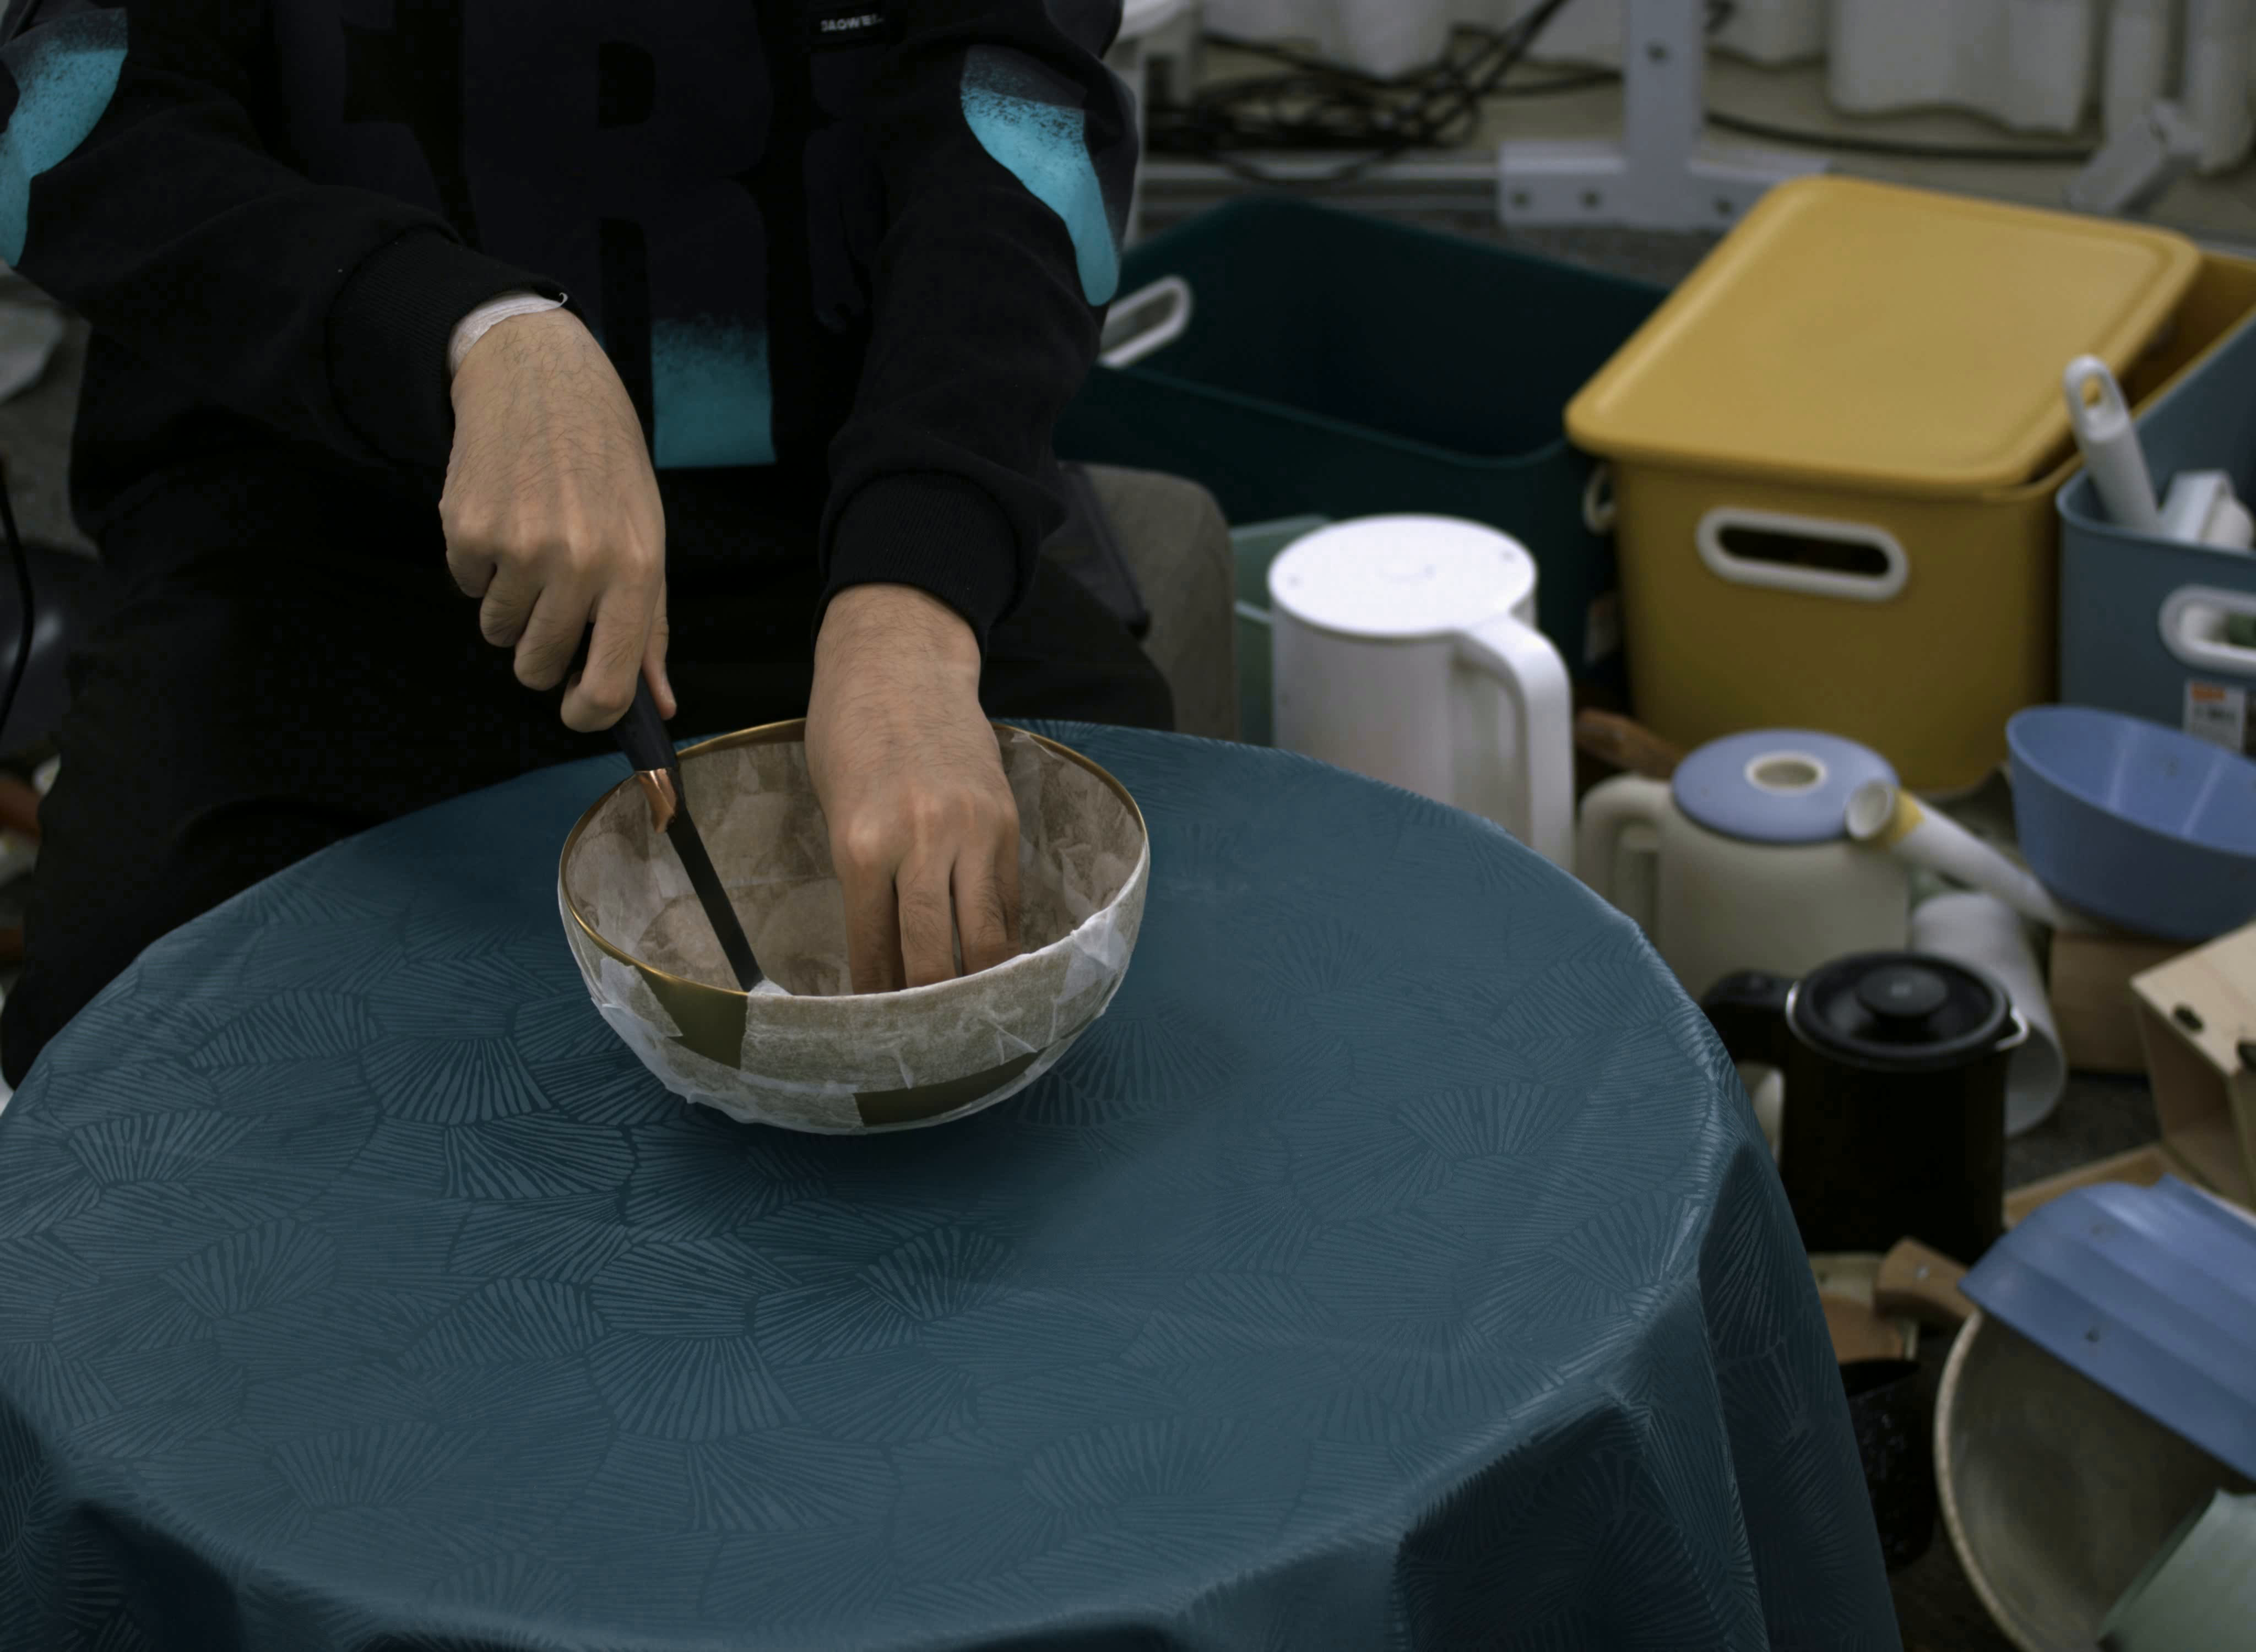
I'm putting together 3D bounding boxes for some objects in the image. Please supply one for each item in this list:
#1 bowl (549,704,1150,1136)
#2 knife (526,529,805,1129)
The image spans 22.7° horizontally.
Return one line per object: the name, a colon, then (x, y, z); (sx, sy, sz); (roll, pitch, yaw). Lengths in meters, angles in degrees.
bowl: (-0.091, 0.043, 1.920); (0.213, 0.093, 0.218); (-3, 28, 2)
knife: (-0.157, 0.001, 1.938); (0.017, 0.227, 0.026); (-18, -13, -35)
